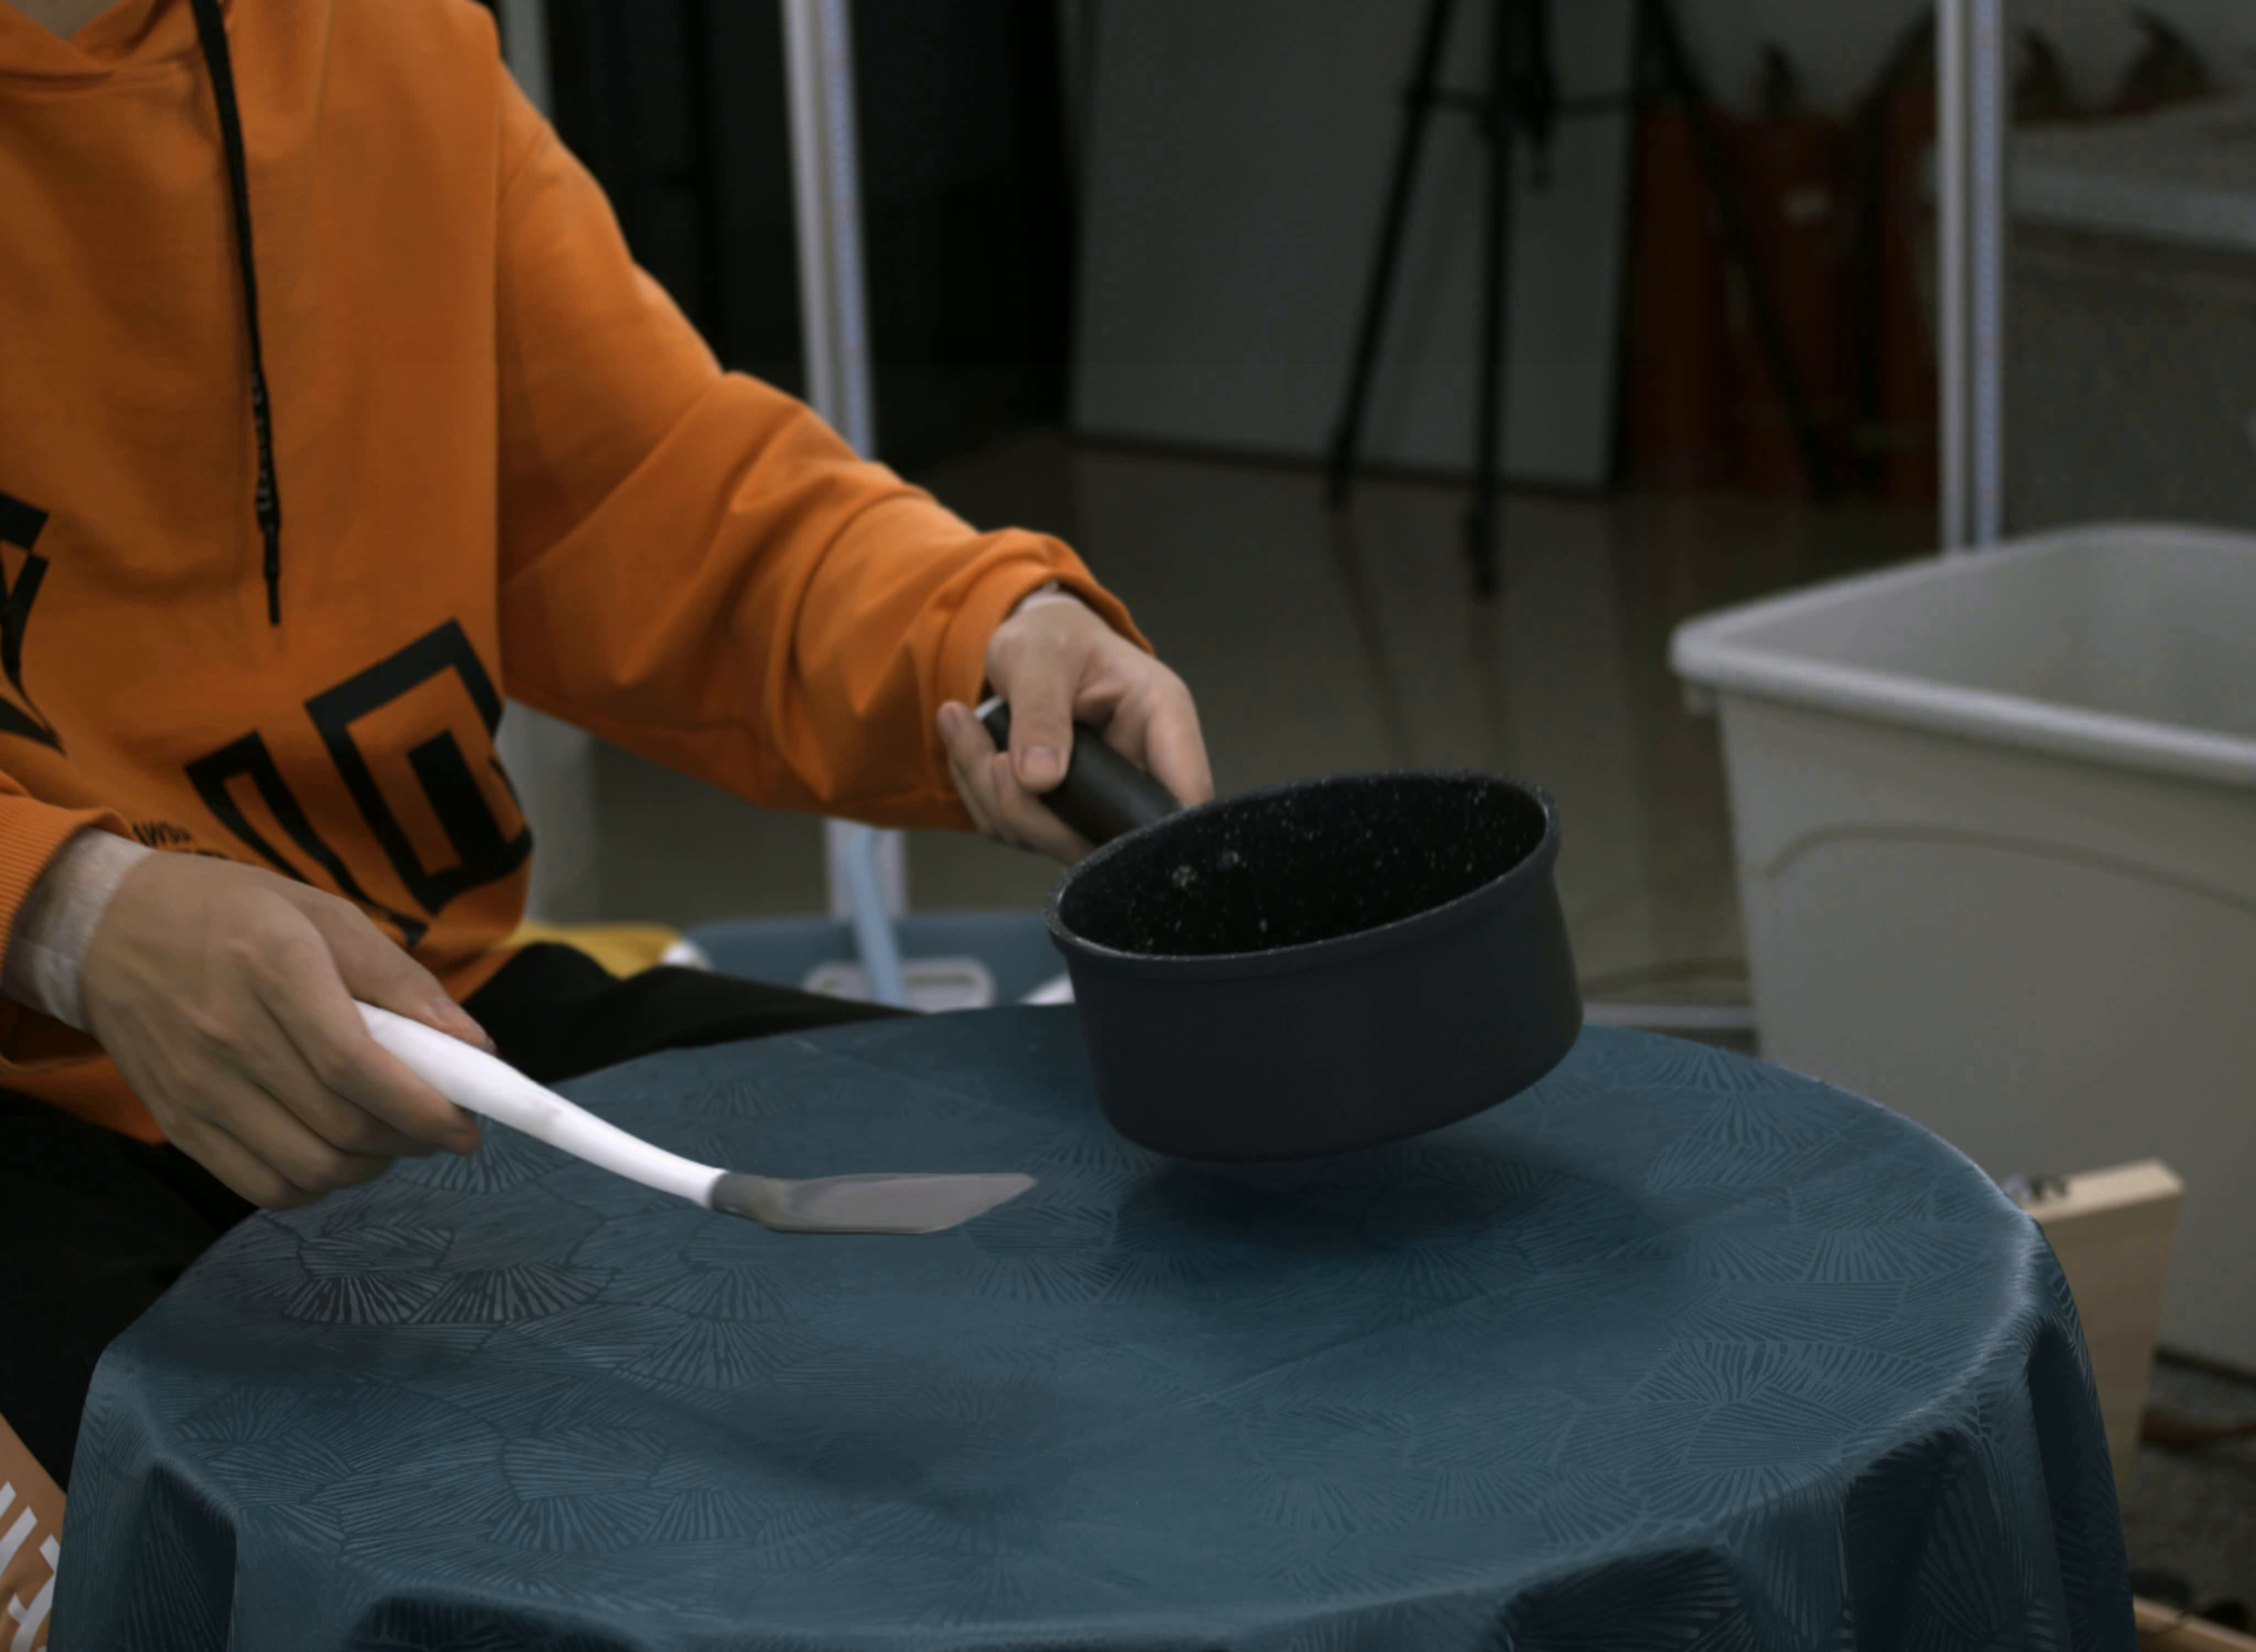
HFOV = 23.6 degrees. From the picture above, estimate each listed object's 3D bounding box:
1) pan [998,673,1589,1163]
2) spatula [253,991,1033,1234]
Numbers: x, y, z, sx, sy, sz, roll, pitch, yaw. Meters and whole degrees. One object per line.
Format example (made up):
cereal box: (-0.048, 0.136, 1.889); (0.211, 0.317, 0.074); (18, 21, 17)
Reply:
pan: (0.033, 0.024, 1.819); (0.169, 0.087, 0.332); (-18, 19, -18)
spatula: (-0.151, 0.091, 1.618); (0.290, 0.032, 0.057); (12, 17, 37)
